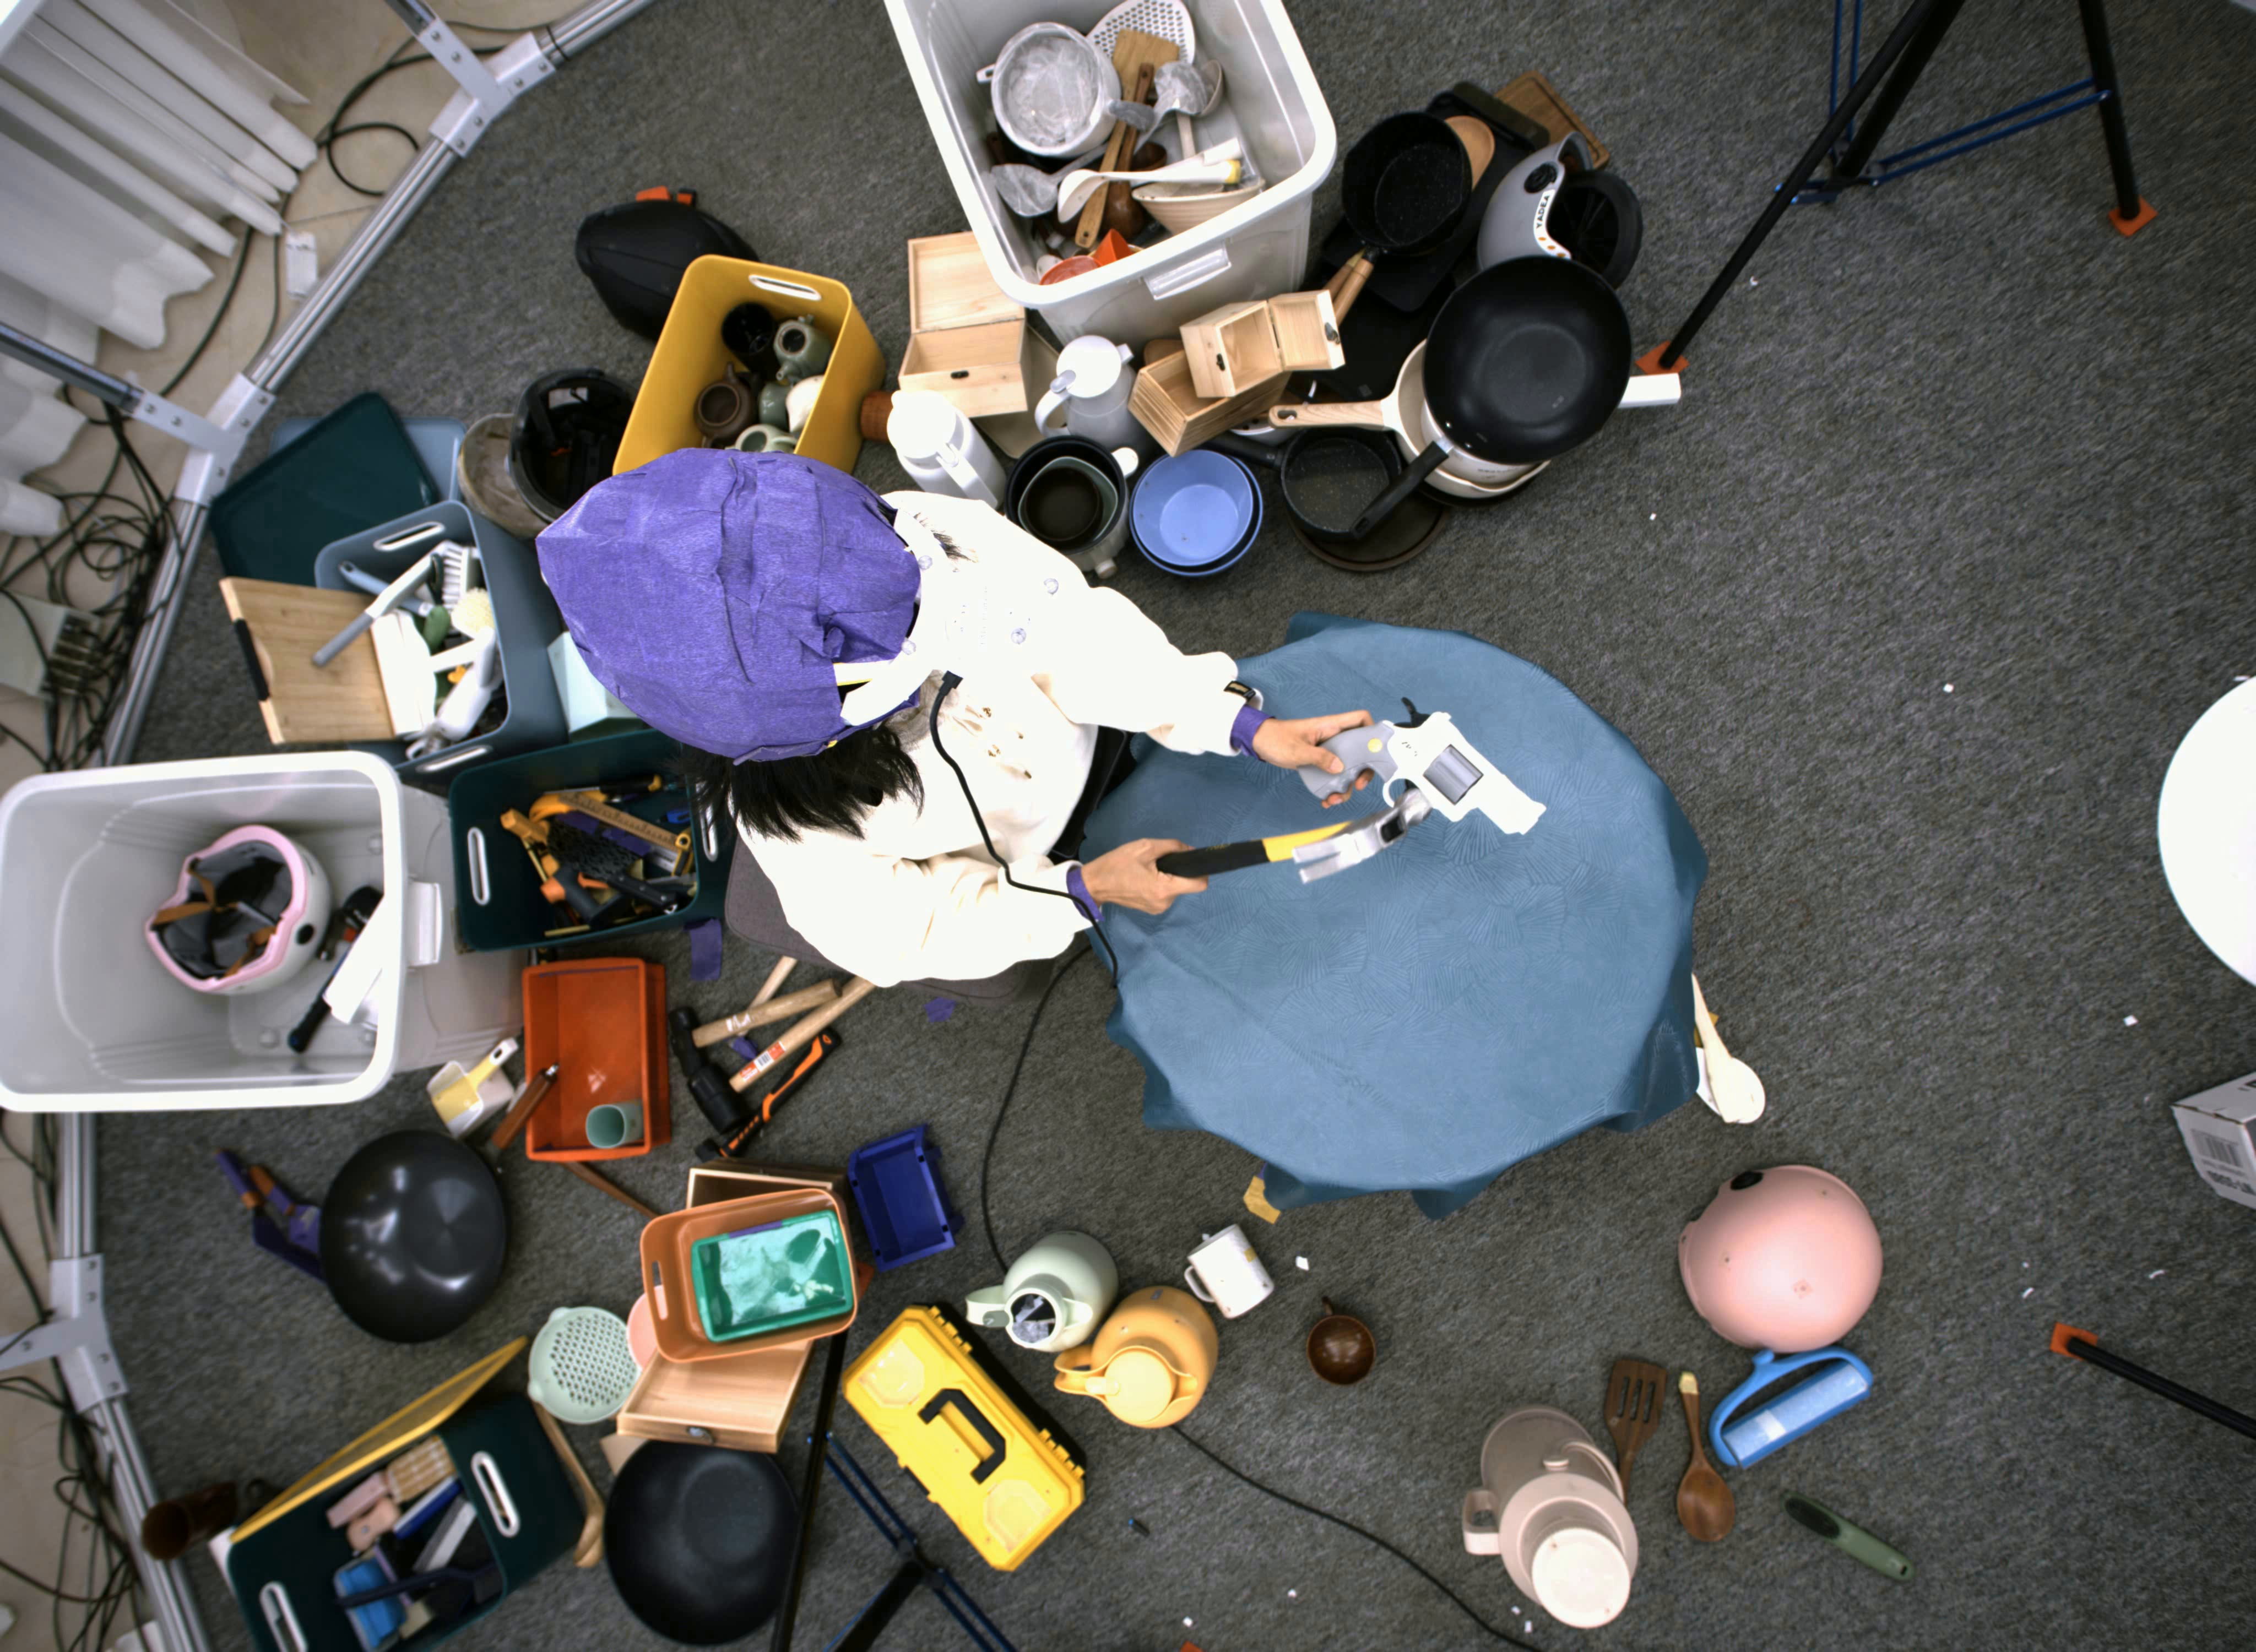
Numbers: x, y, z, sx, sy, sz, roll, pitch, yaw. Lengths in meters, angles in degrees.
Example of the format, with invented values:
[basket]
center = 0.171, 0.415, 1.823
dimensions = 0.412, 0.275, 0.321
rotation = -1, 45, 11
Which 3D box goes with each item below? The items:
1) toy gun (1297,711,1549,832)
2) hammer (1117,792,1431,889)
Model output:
[toy gun]
center = 0.273, -0.037, 1.296
dimensions = 0.208, 0.038, 0.144
rotation = 44, 111, 15
[hammer]
center = 0.110, 0.024, 1.282
dimensions = 0.342, 0.129, 0.032
rotation = -10, 107, 49
